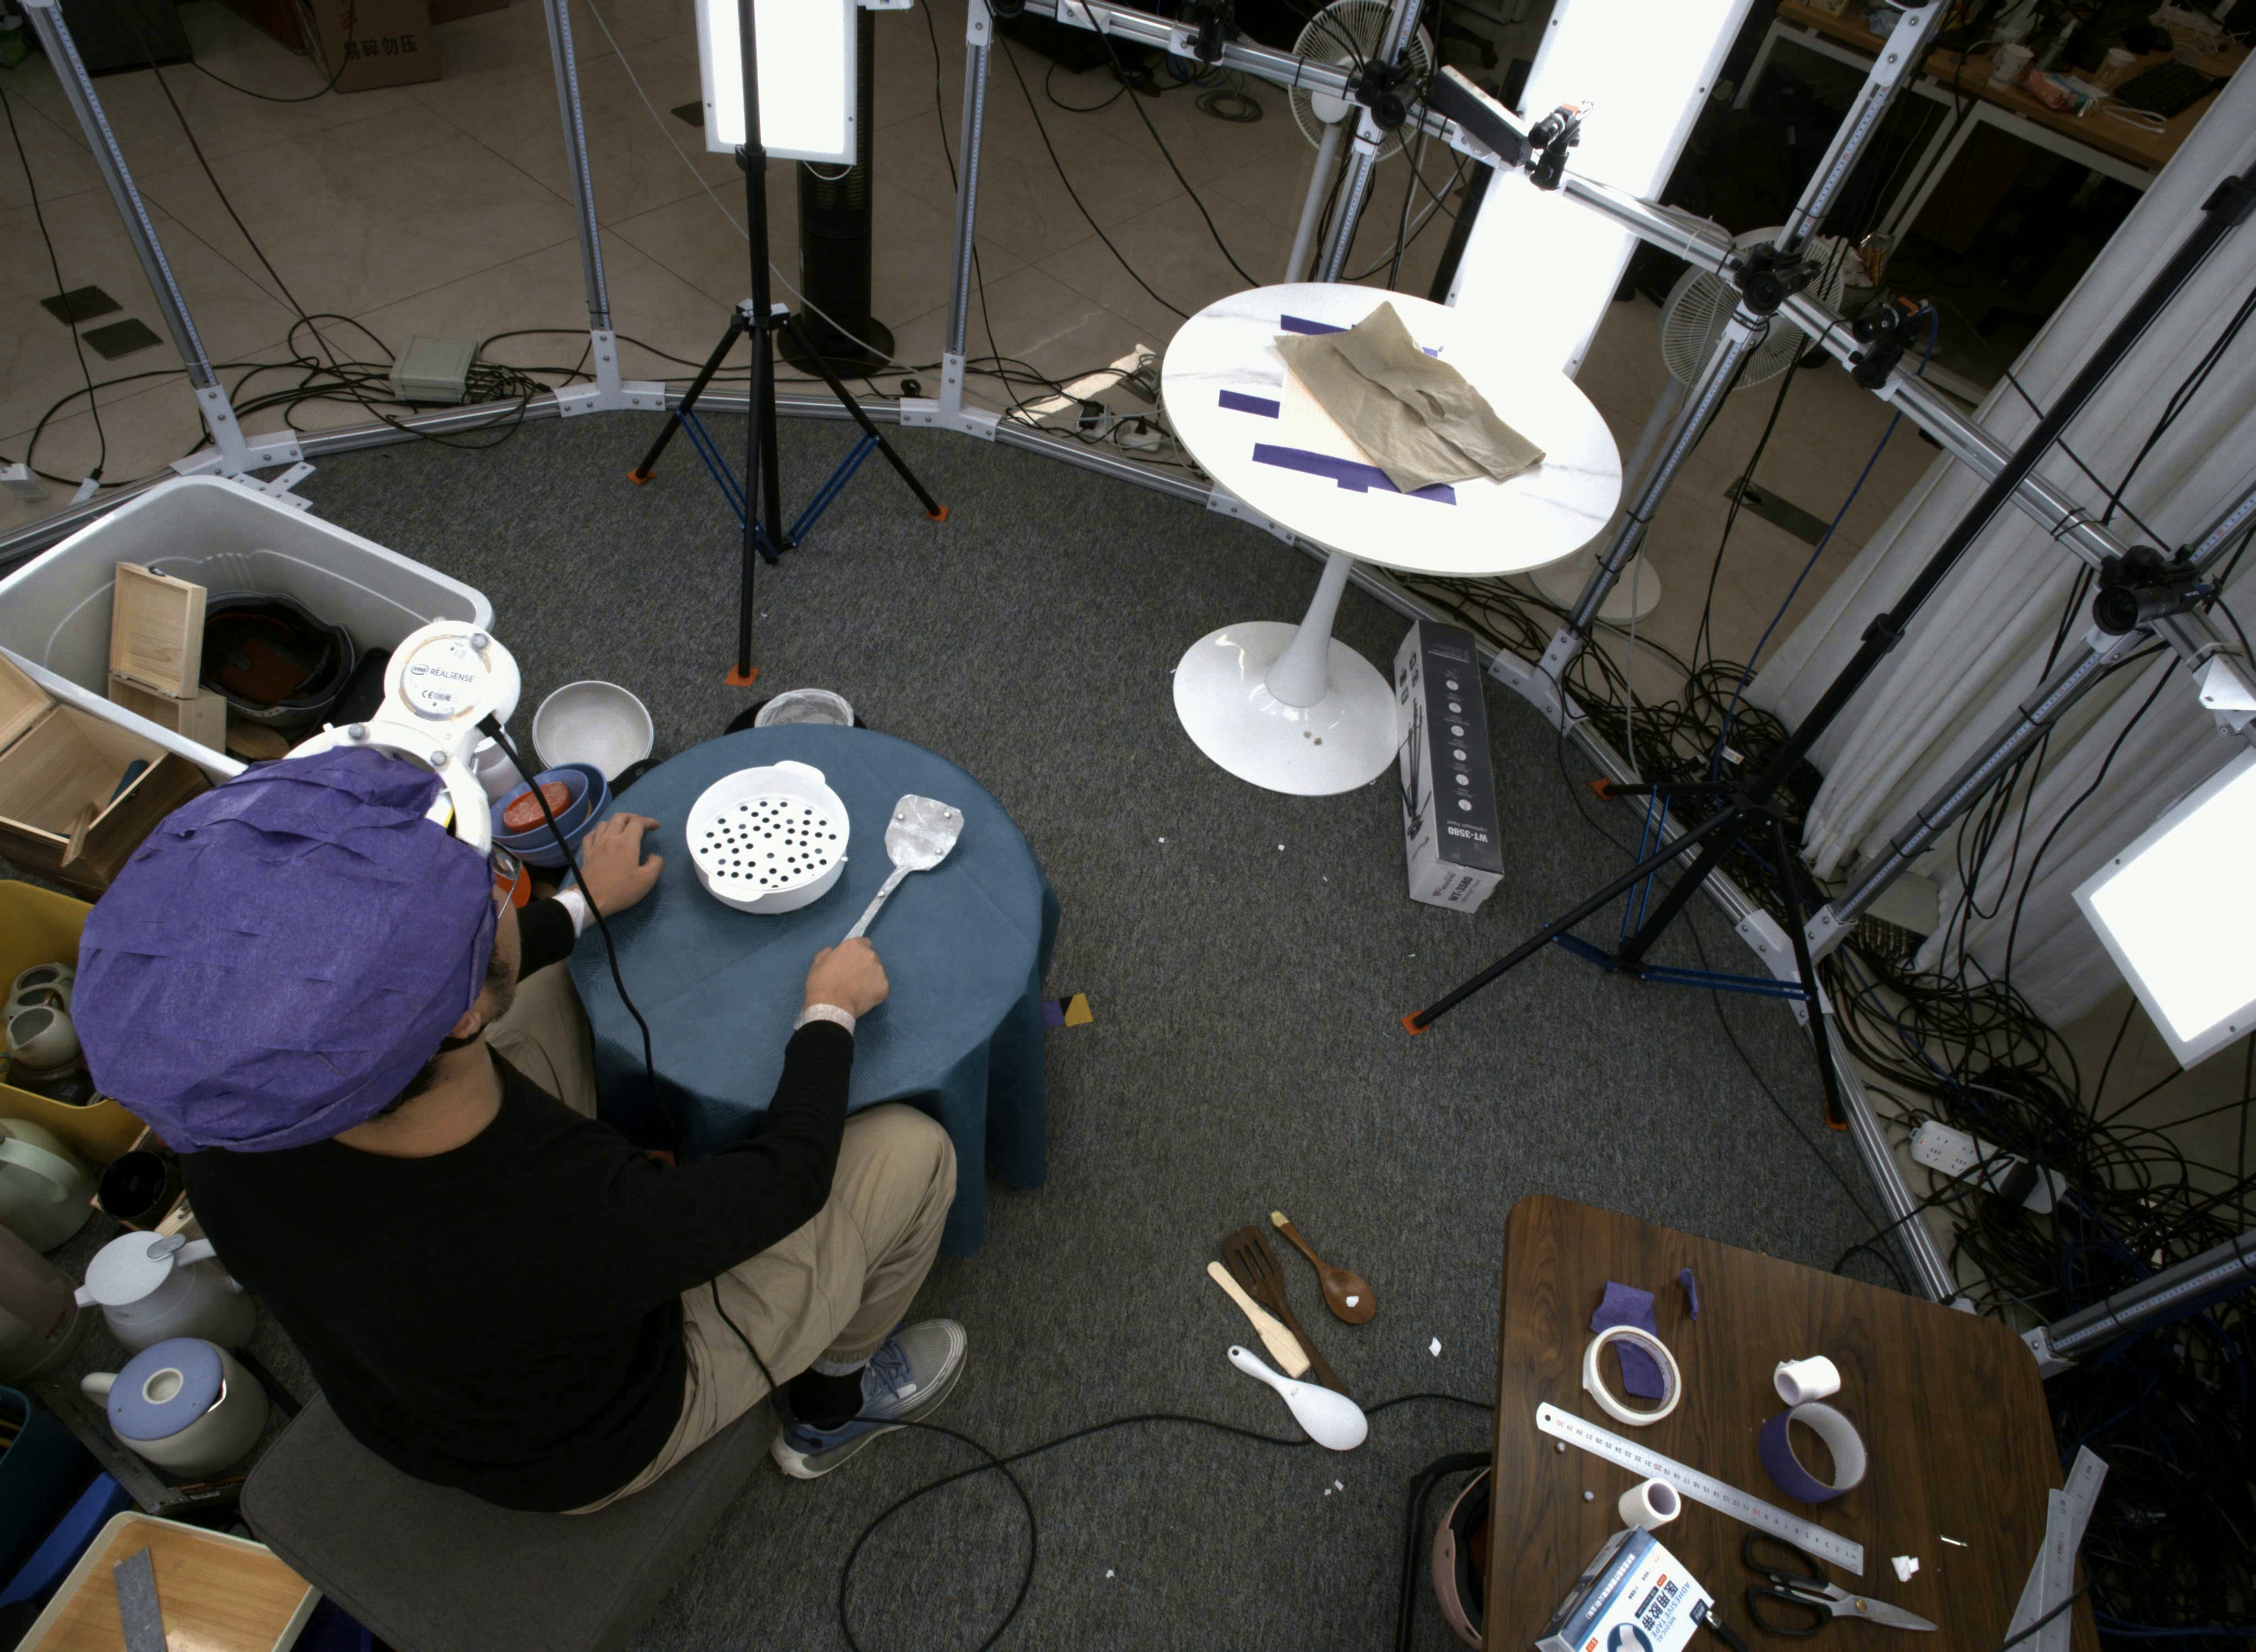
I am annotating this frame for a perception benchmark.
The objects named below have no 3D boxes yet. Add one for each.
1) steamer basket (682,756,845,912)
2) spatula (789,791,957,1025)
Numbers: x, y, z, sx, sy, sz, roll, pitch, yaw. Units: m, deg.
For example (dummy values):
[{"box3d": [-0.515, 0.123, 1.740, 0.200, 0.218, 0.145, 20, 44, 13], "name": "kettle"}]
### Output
[{"box3d": [-0.462, 0.015, 1.652, 0.200, 0.070, 0.228, 18, 52, 0], "name": "steamer basket"}, {"box3d": [-0.330, 0.098, 1.643, 0.097, 0.046, 0.362, 20, 50, 8], "name": "spatula"}]
